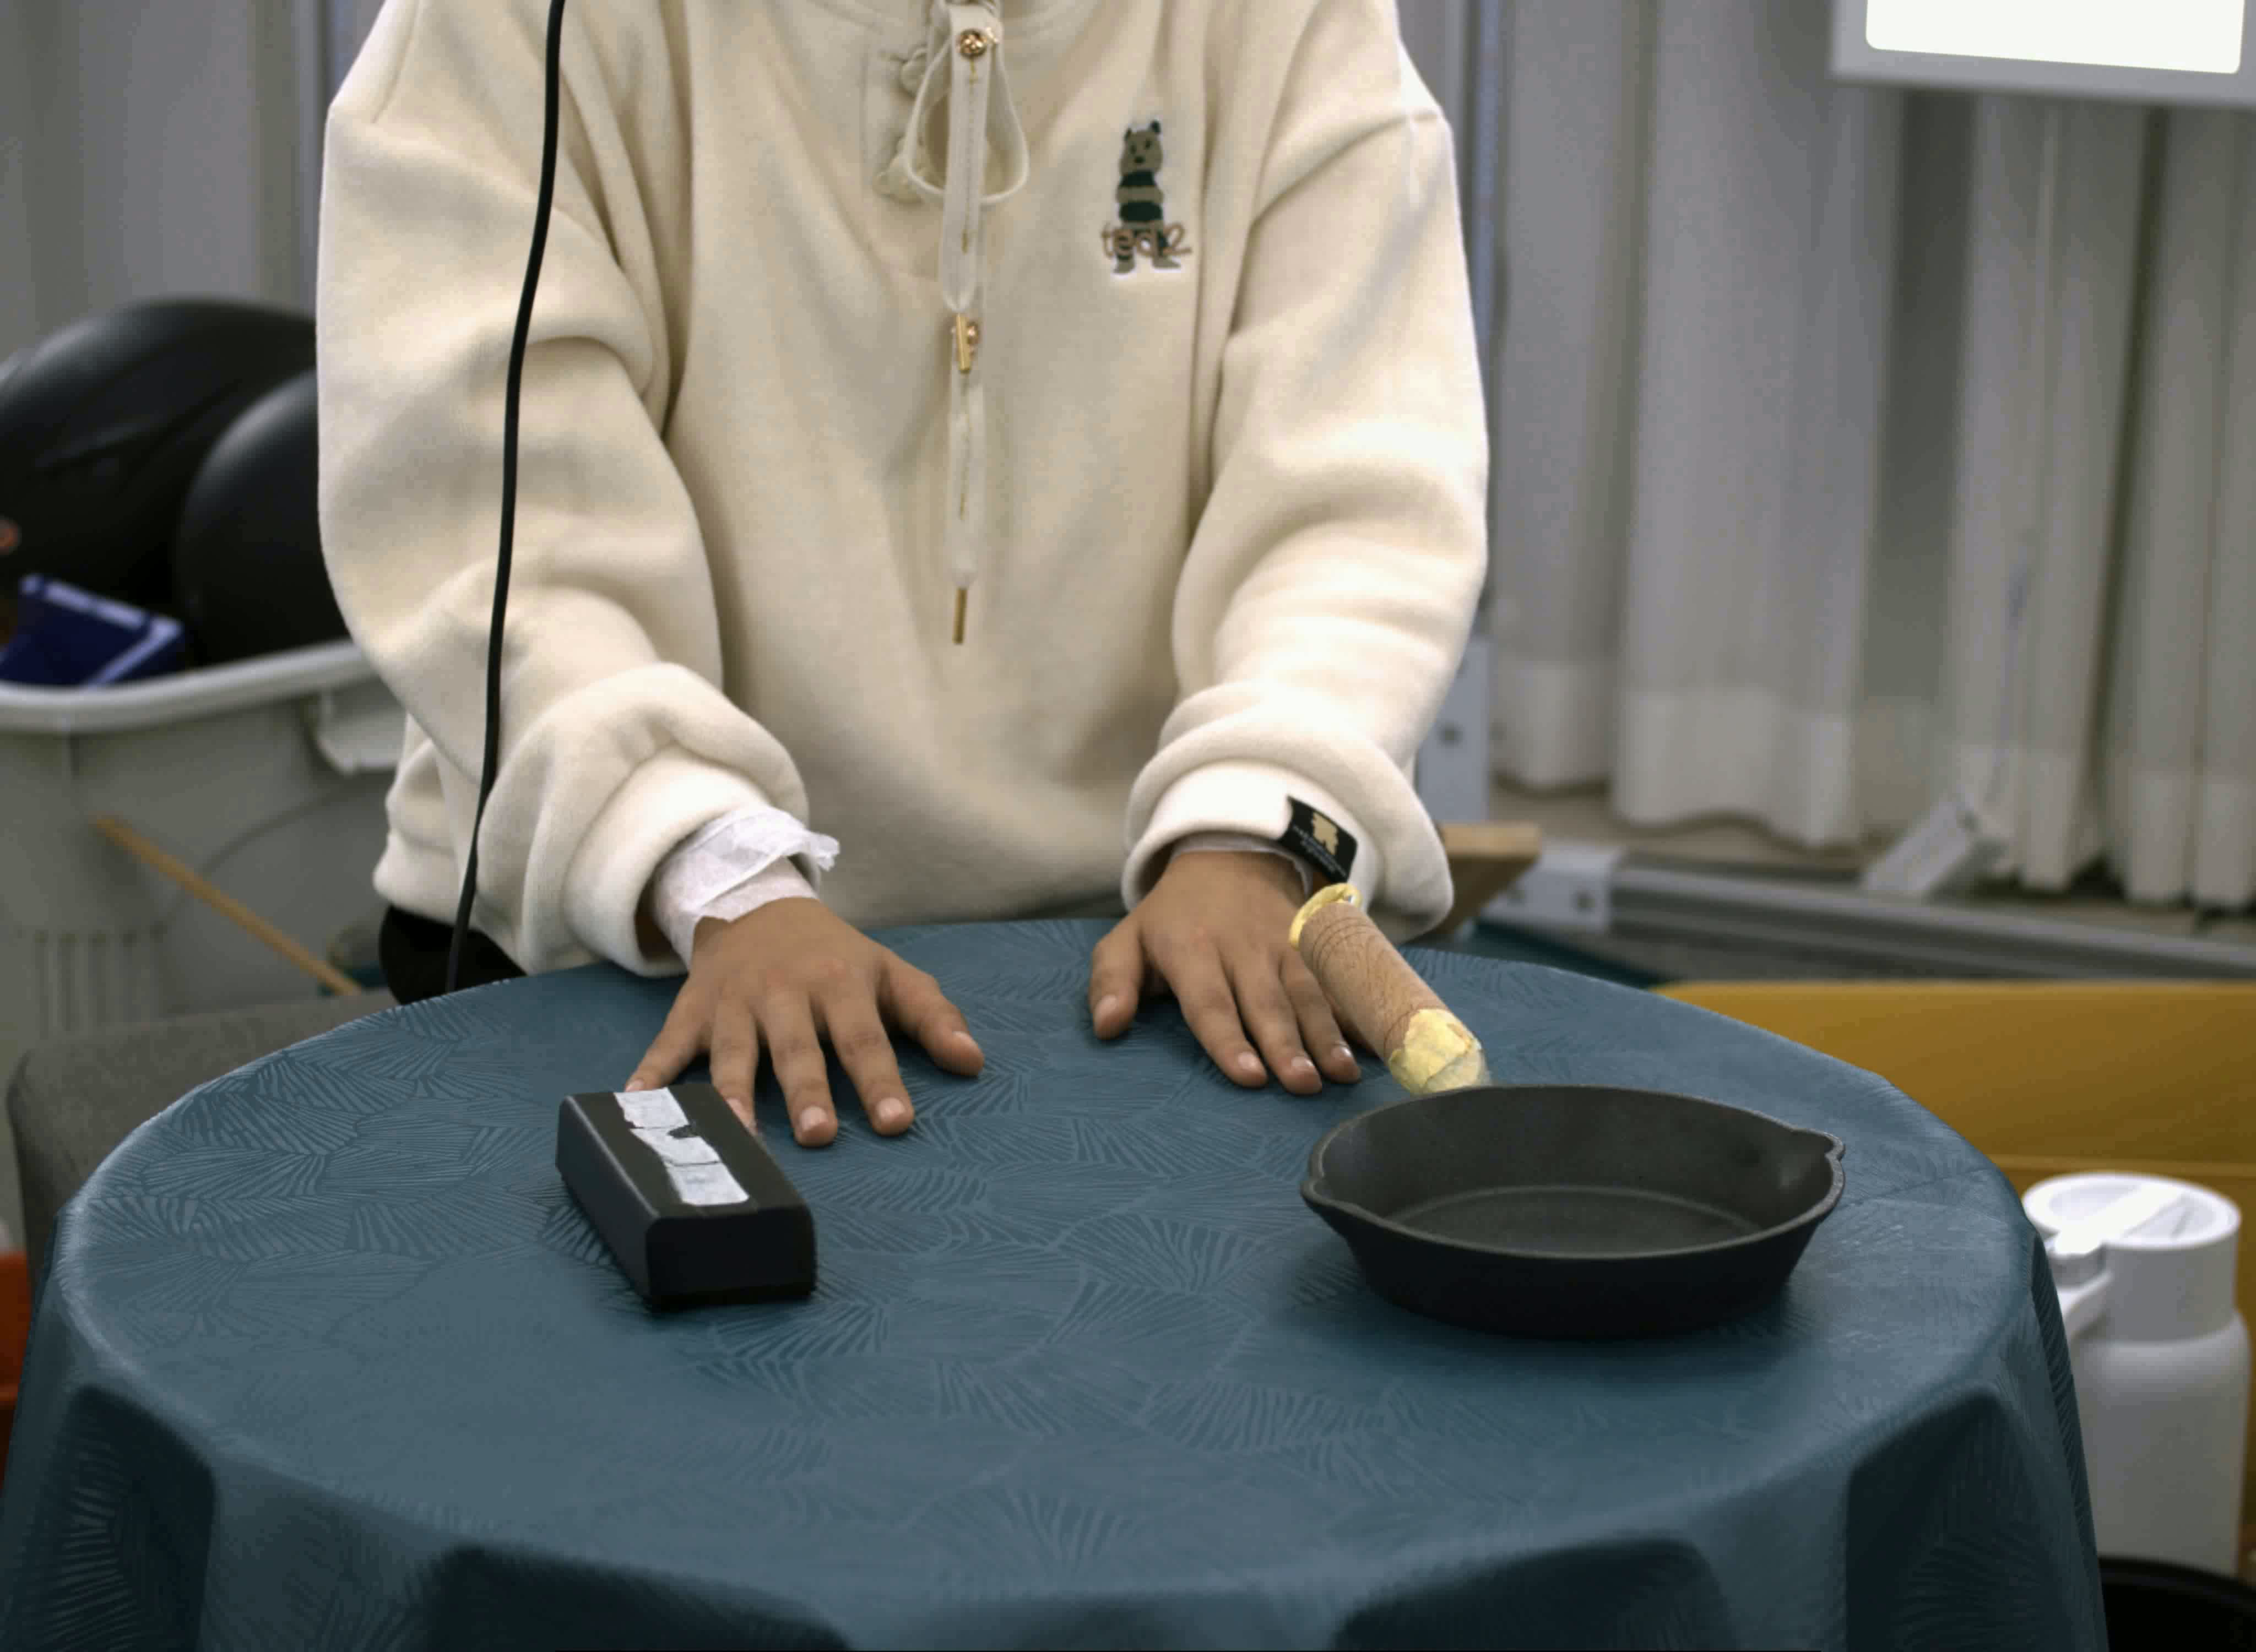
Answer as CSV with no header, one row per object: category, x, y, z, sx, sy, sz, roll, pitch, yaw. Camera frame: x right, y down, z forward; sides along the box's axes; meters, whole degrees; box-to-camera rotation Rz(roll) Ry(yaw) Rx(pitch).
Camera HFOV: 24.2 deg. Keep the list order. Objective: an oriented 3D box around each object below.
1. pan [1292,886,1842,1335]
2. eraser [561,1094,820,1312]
pan,0.109,0.084,1.629,0.169,0.050,0.321,-5,17,-15
eraser,-0.131,0.111,1.570,0.053,0.031,0.124,-4,15,-17
